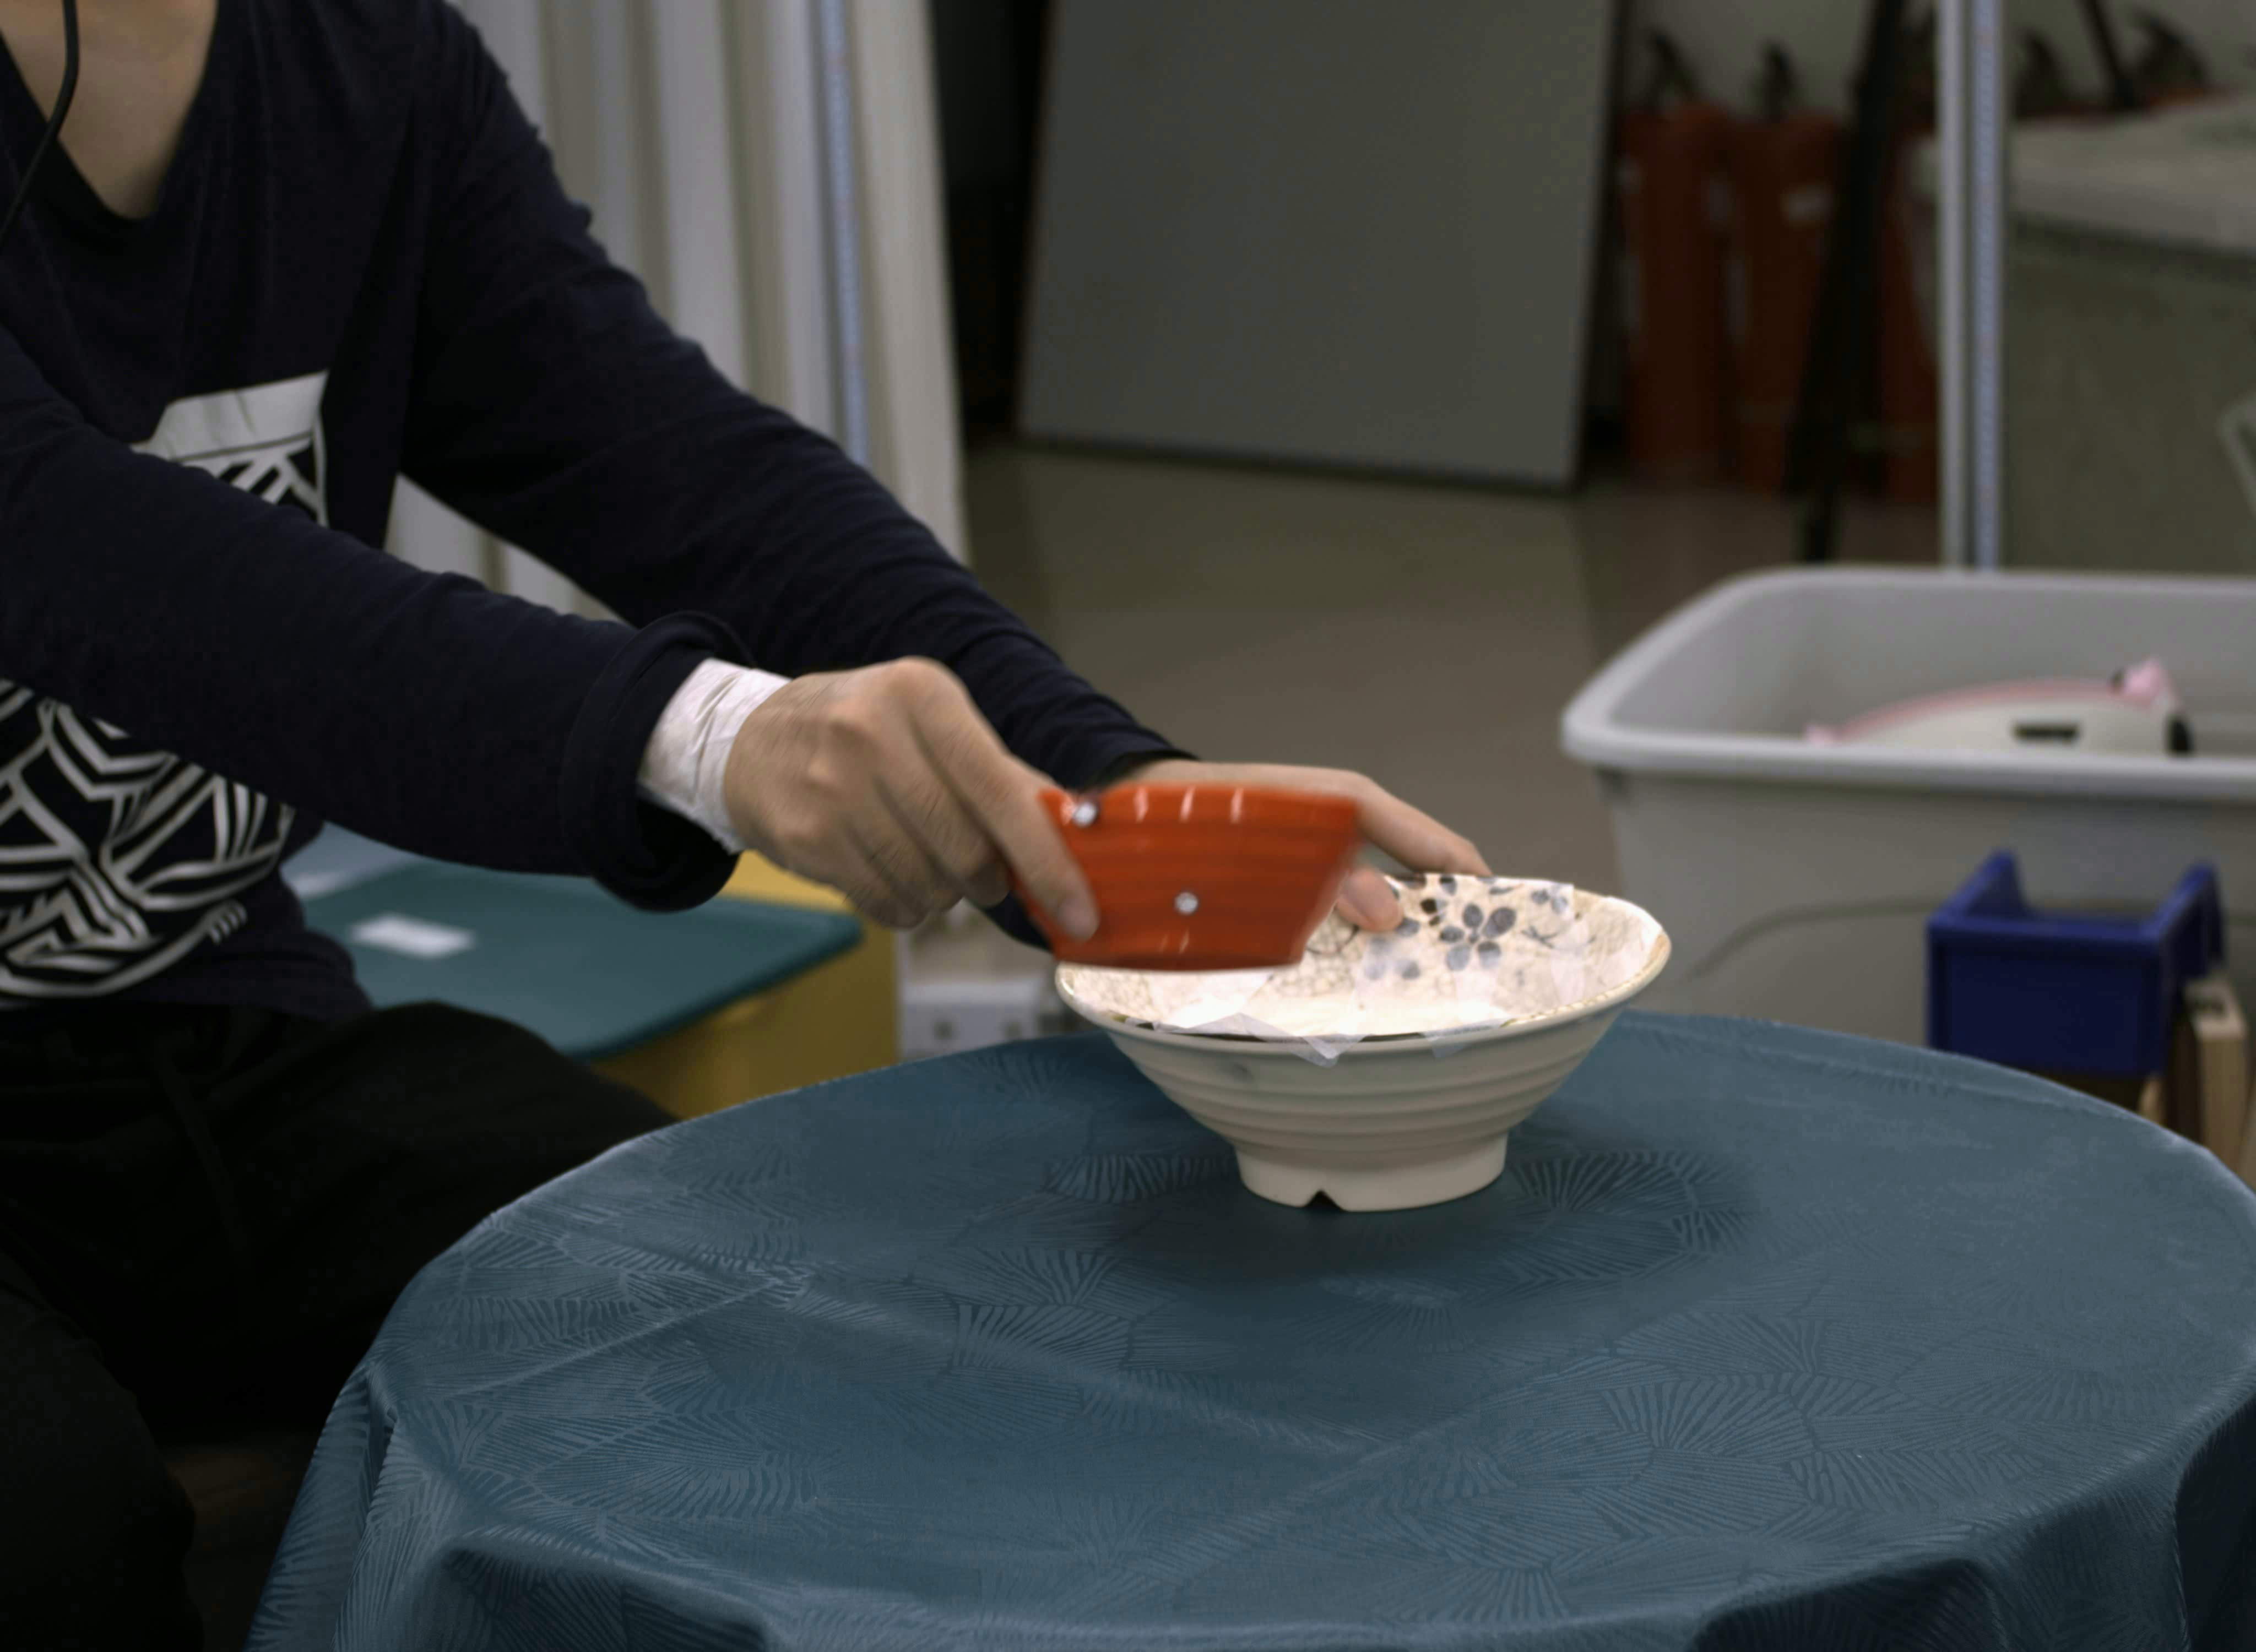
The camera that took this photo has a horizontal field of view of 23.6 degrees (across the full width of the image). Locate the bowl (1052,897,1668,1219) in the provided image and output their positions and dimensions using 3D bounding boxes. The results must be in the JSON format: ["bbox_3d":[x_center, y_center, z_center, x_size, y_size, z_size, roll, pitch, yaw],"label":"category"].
[{"bbox_3d":[0.077,0.080,1.762,0.201,0.079,0.204,-4,10,0],"label":"bowl"}]

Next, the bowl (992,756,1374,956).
[{"bbox_3d":[0.017,0.011,1.646,0.117,0.052,0.119,0,-6,-1],"label":"bowl"}]
